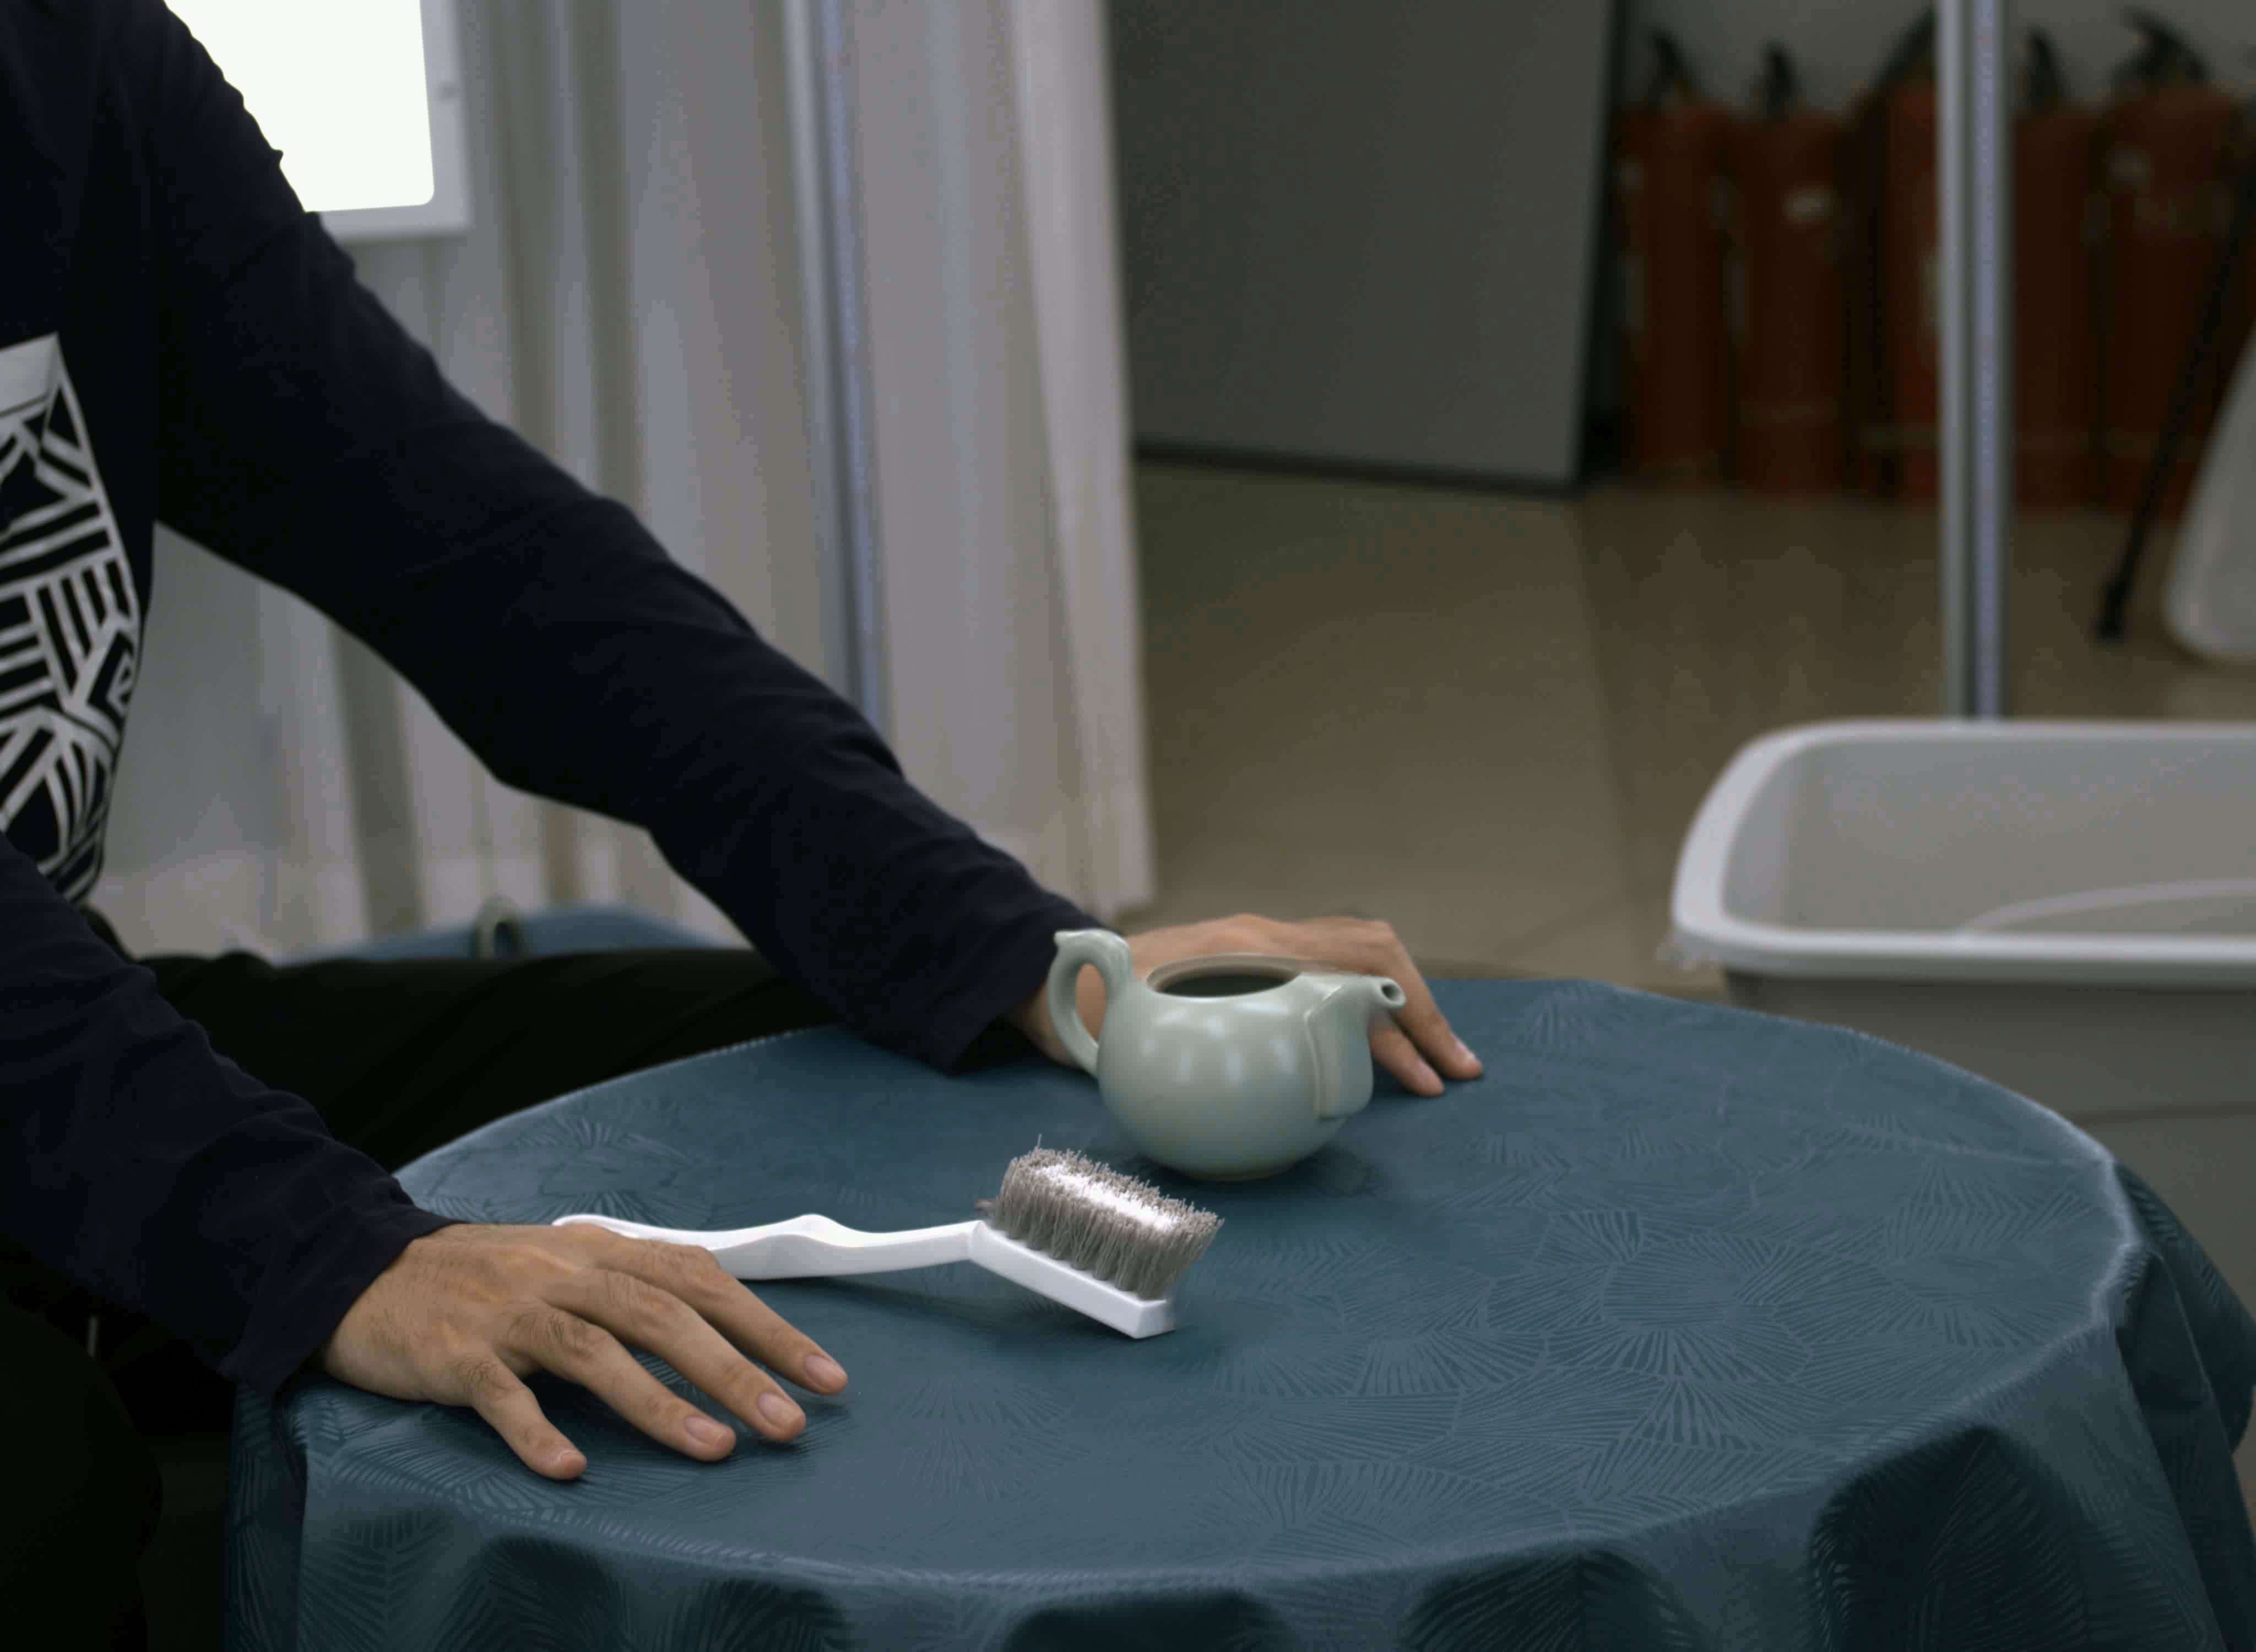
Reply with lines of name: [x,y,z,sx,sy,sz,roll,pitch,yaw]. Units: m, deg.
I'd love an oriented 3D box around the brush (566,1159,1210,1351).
brush: [-0.081,0.123,1.692,0.245,0.051,0.034,6,21,34]

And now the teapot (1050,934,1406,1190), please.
teapot: [0.034,0.079,1.788,0.145,0.075,0.086,9,20,39]
